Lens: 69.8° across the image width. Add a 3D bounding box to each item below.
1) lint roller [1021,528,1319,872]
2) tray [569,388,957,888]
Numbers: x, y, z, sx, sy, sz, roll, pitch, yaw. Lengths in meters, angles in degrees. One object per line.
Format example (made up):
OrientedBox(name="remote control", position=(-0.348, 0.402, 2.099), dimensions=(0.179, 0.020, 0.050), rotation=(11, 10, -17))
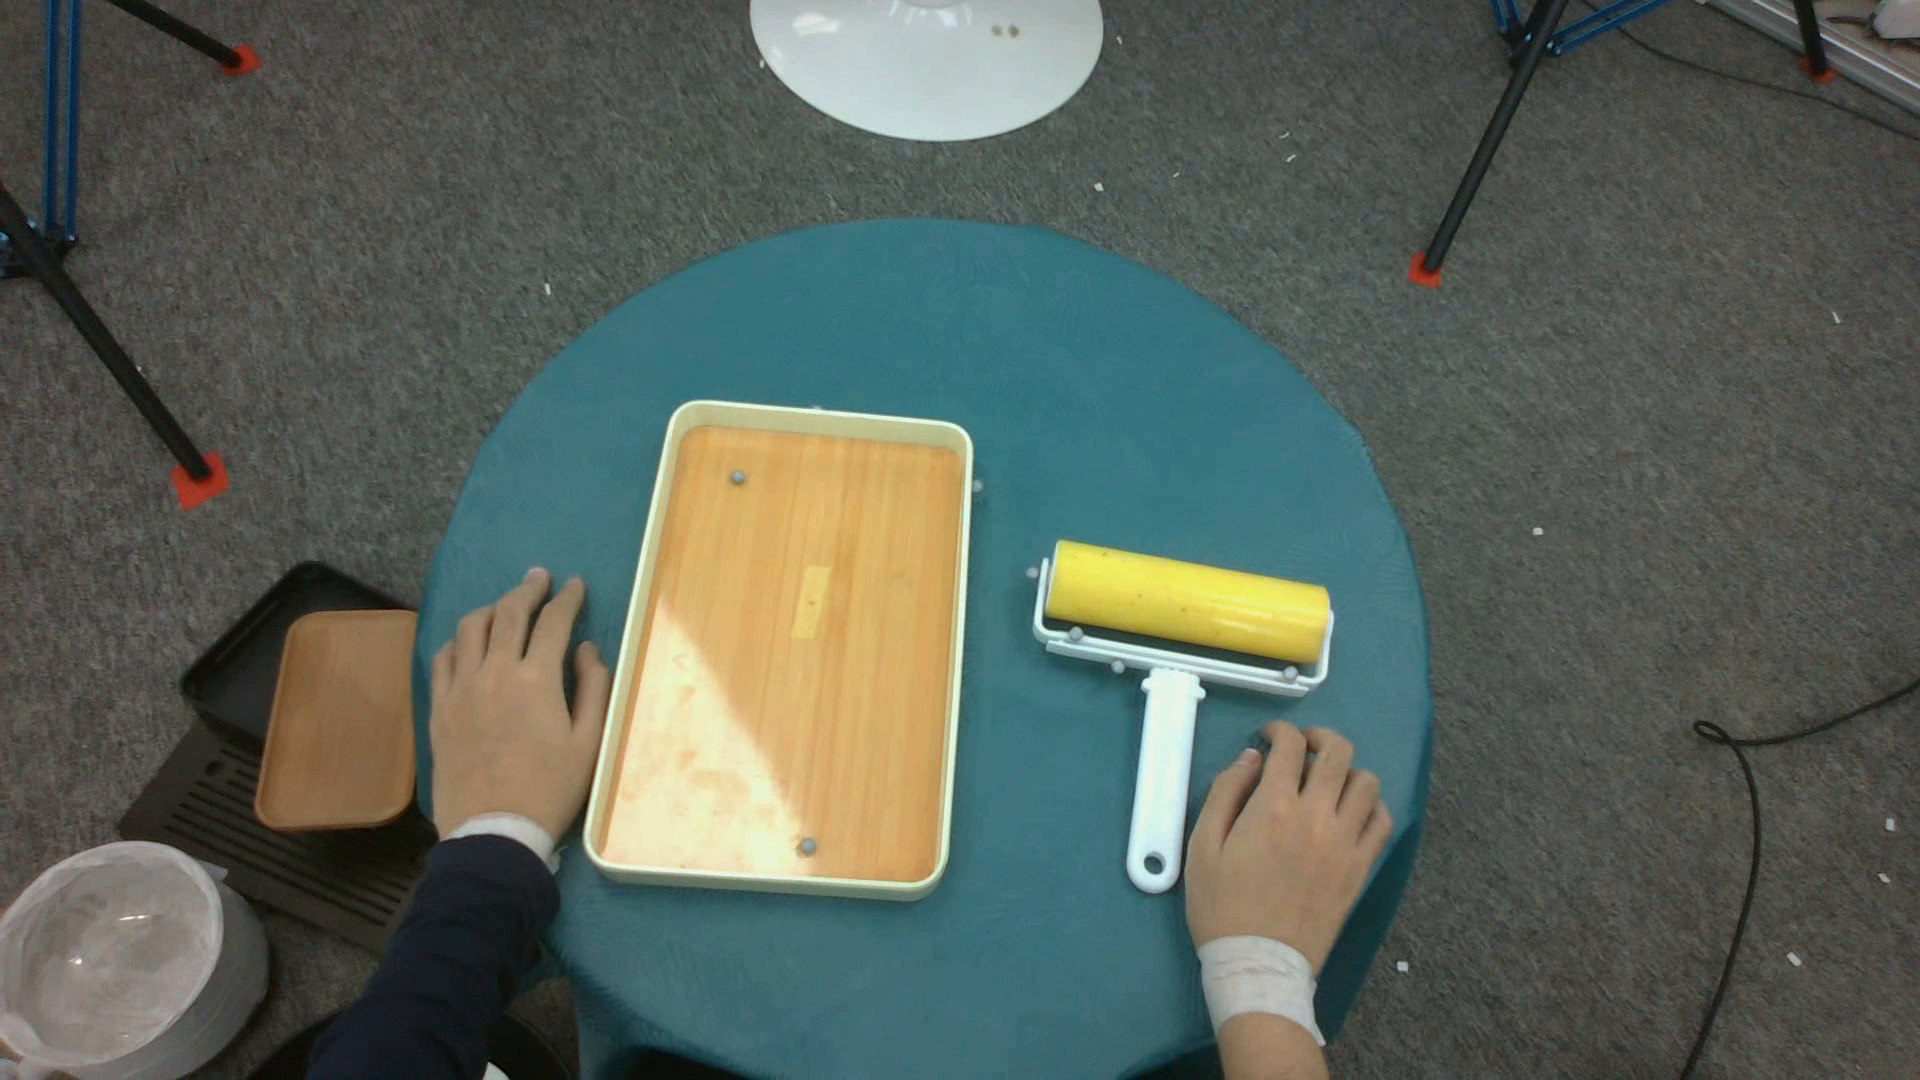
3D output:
OrientedBox(name="lint roller", position=(0.116, 0.088, 0.778), dimensions=(0.174, 0.051, 0.193), rotation=(8, 55, 0))
OrientedBox(name="tray", position=(-0.103, 0.046, 0.794), dimensions=(0.191, 0.027, 0.301), rotation=(5, 59, -2))
